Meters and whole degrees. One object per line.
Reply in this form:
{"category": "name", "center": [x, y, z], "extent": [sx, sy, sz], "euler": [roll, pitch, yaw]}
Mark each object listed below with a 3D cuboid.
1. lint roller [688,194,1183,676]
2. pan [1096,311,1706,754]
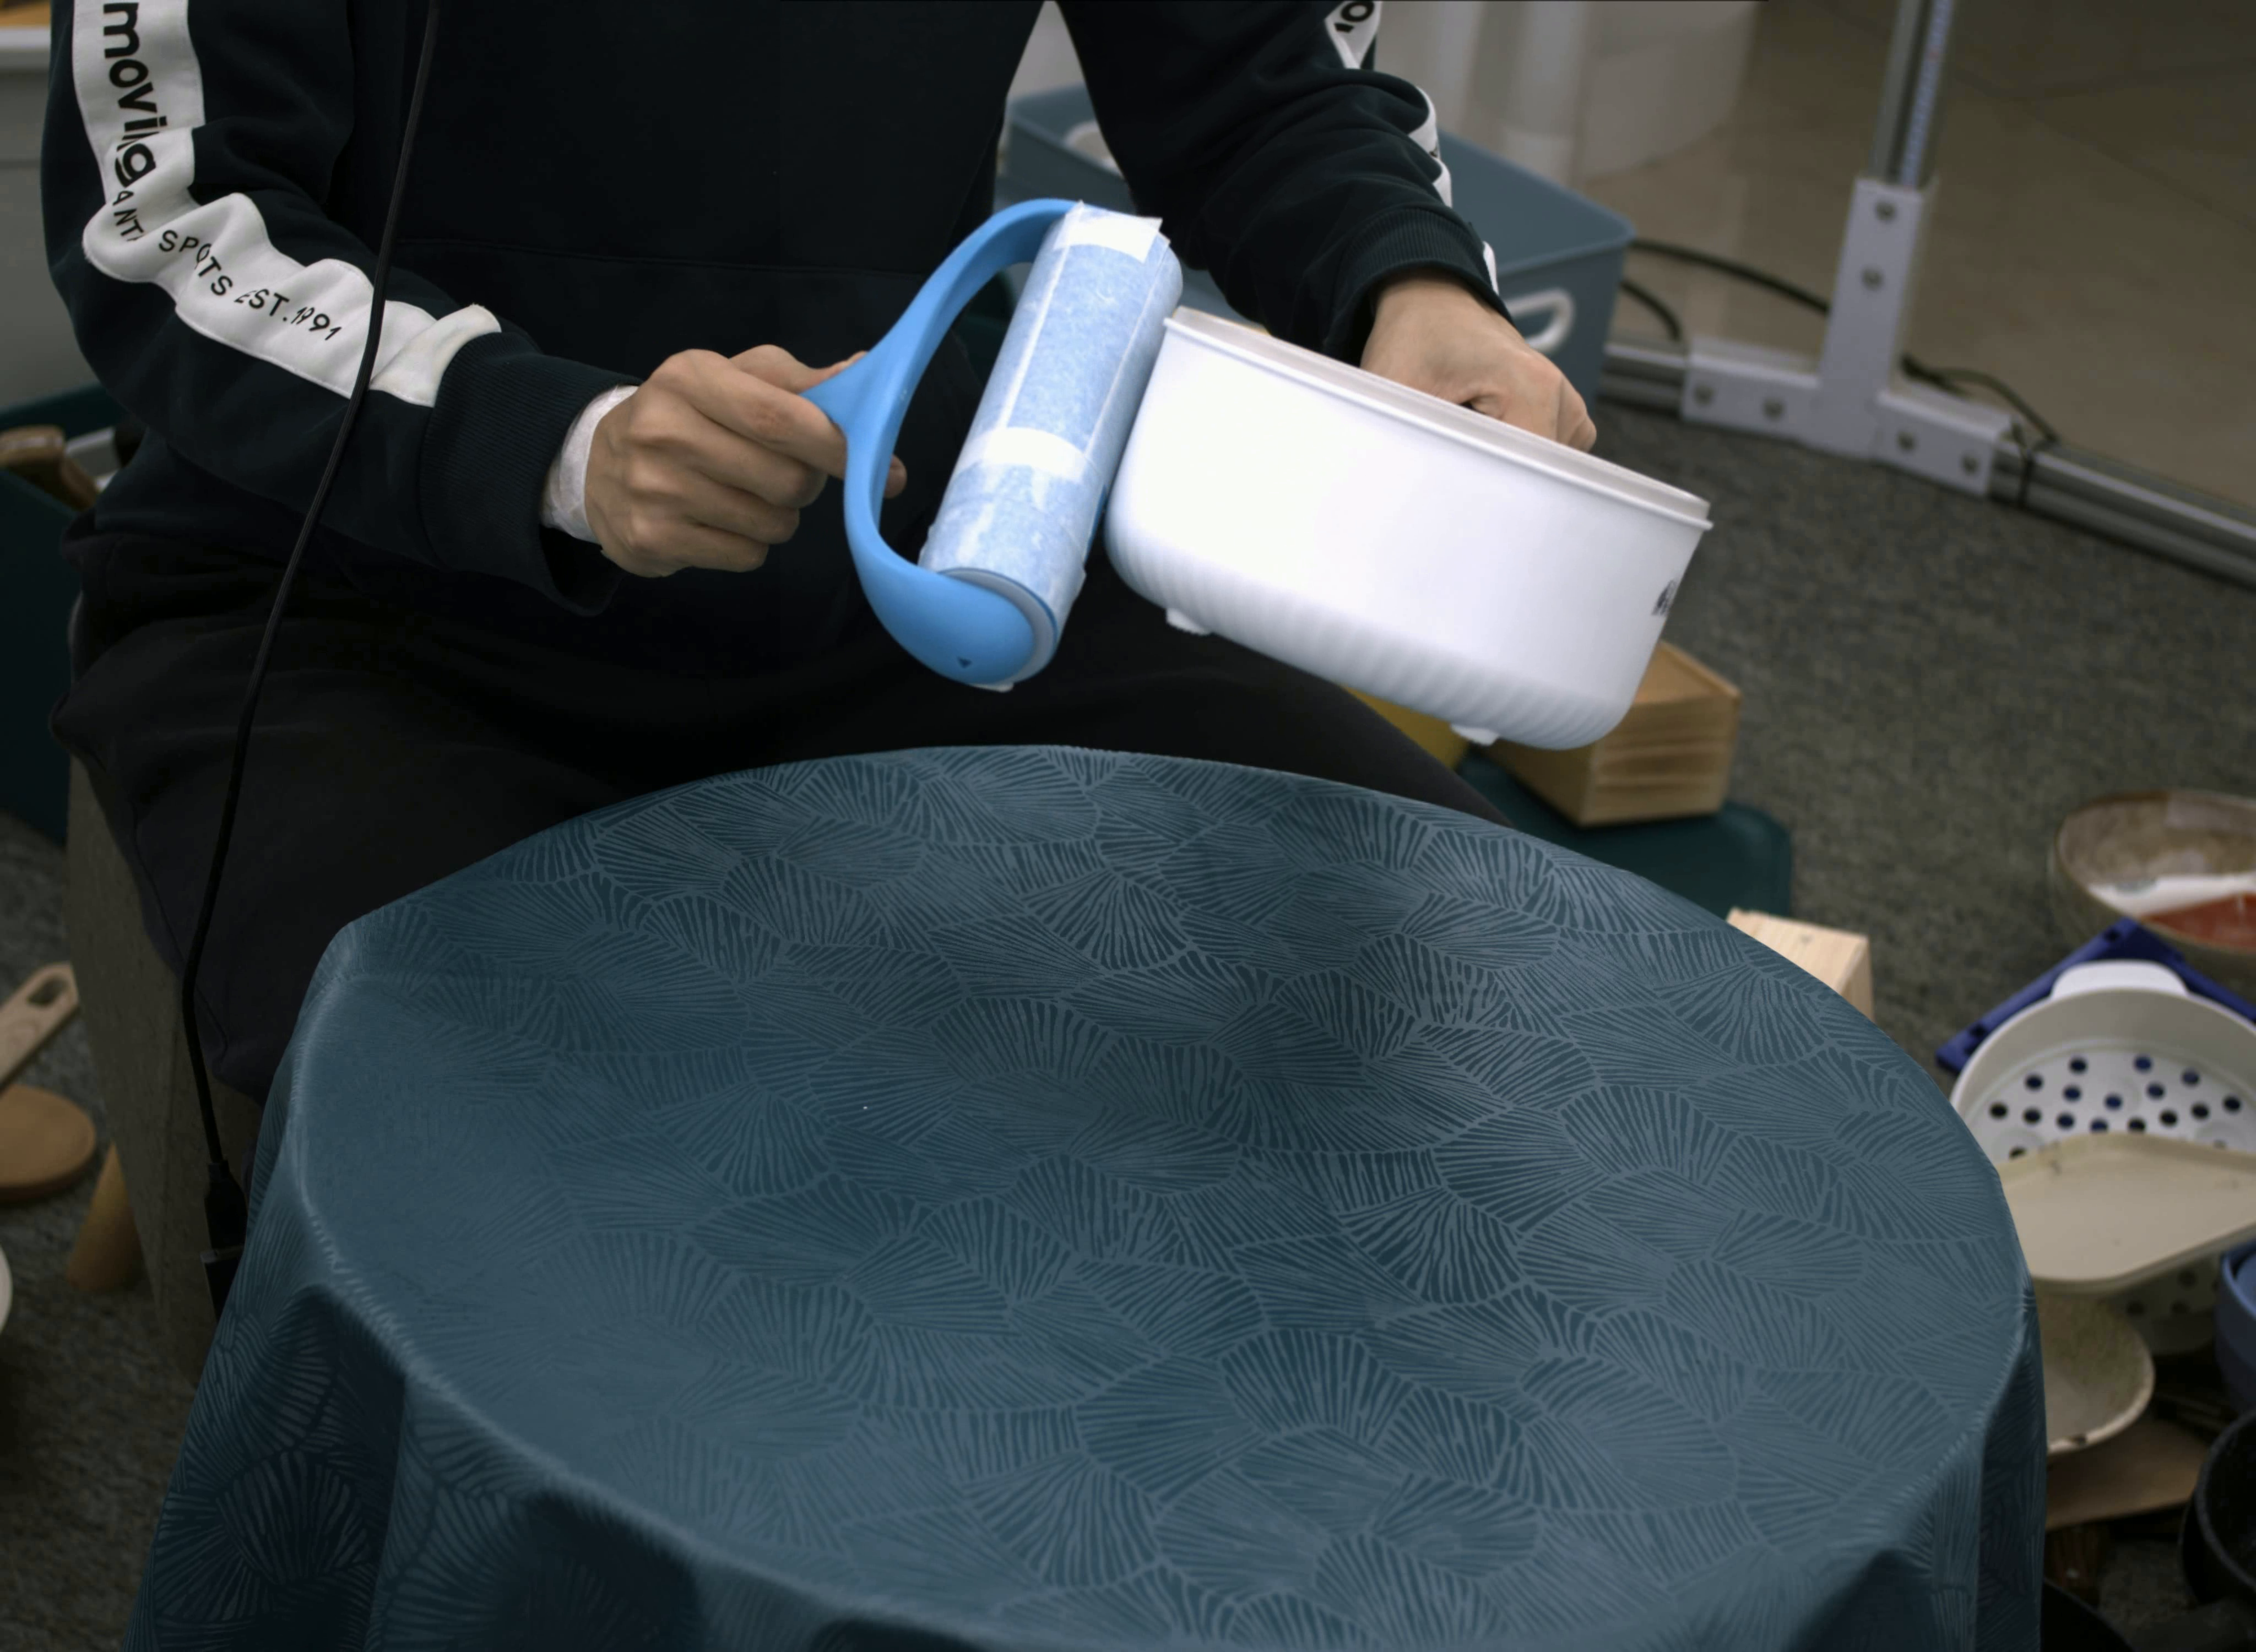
{"category": "lint roller", "center": [-0.083, -0.129, 1.853], "extent": [0.180, 0.067, 0.230], "euler": [-7, 42, 21]}
{"category": "pan", "center": [0.099, -0.099, 1.902], "extent": [0.201, 0.102, 0.354], "euler": [21, 5, 6]}
